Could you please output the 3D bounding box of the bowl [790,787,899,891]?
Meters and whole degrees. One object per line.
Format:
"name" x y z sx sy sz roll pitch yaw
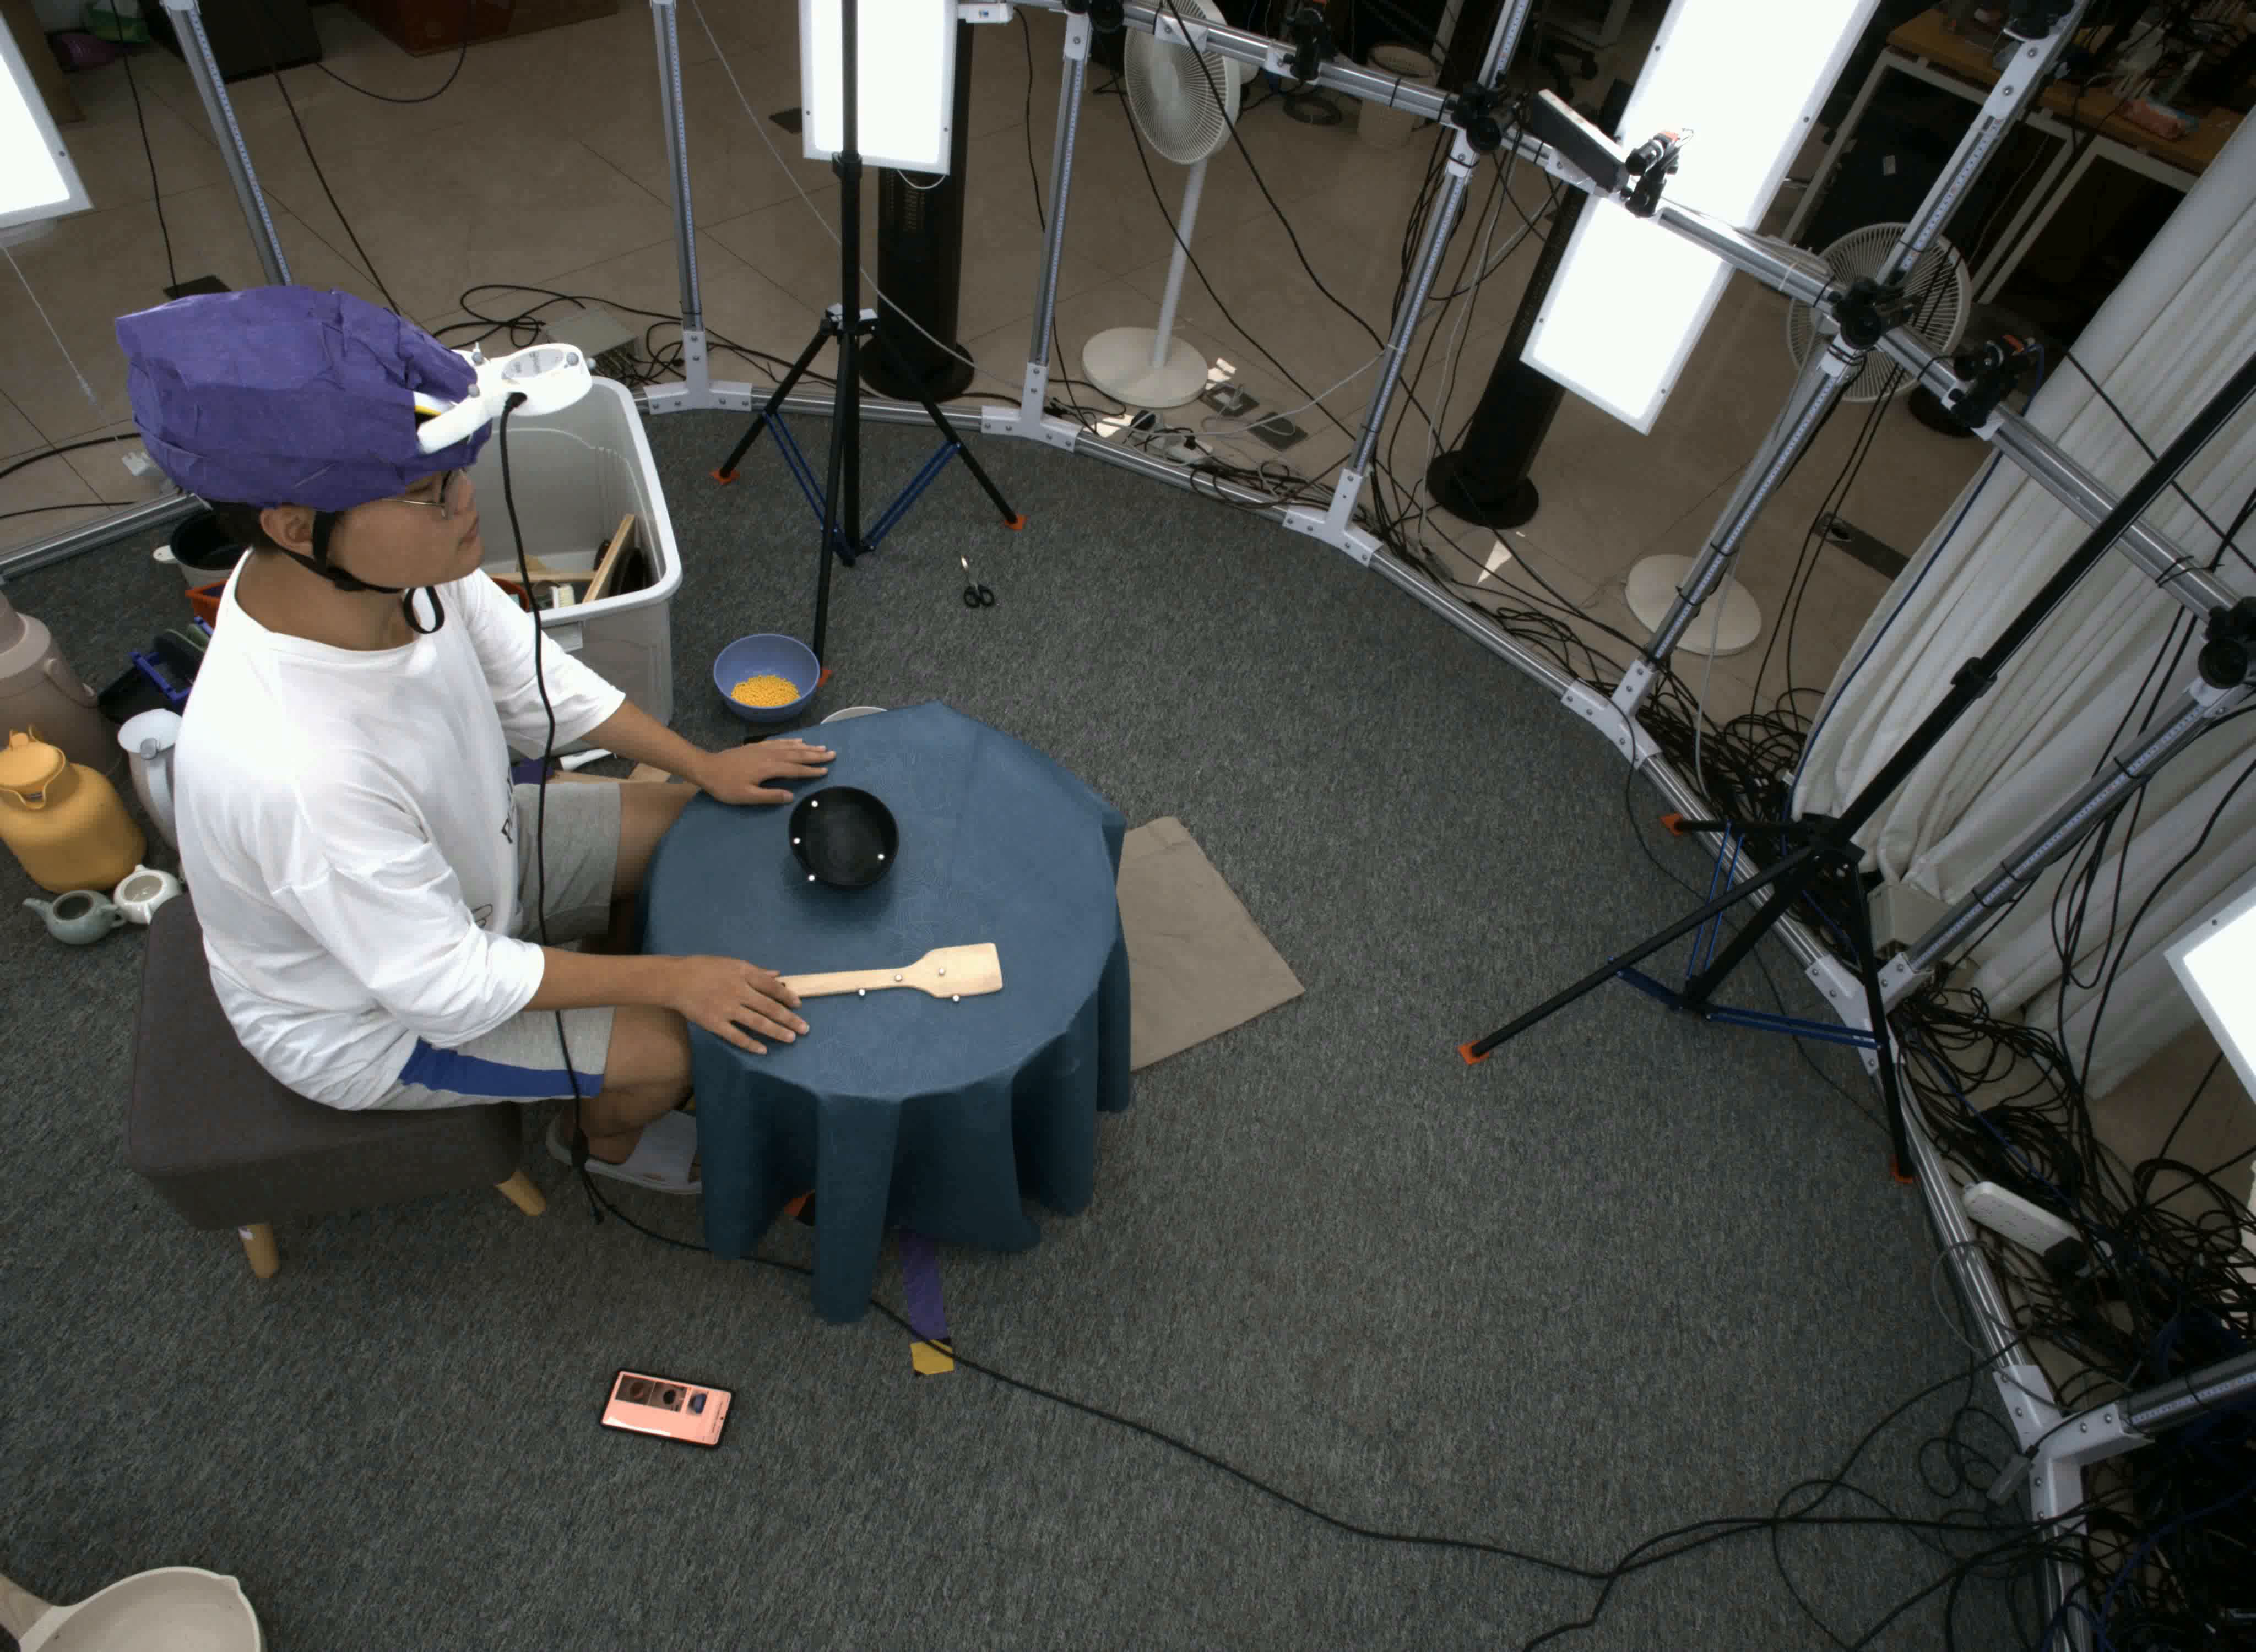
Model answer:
"bowl" -0.368 0.024 1.689 0.138 0.068 0.166 -14 56 -21

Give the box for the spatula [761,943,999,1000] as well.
"spatula" -0.307 0.188 1.616 0.294 0.011 0.070 -4 56 -17
